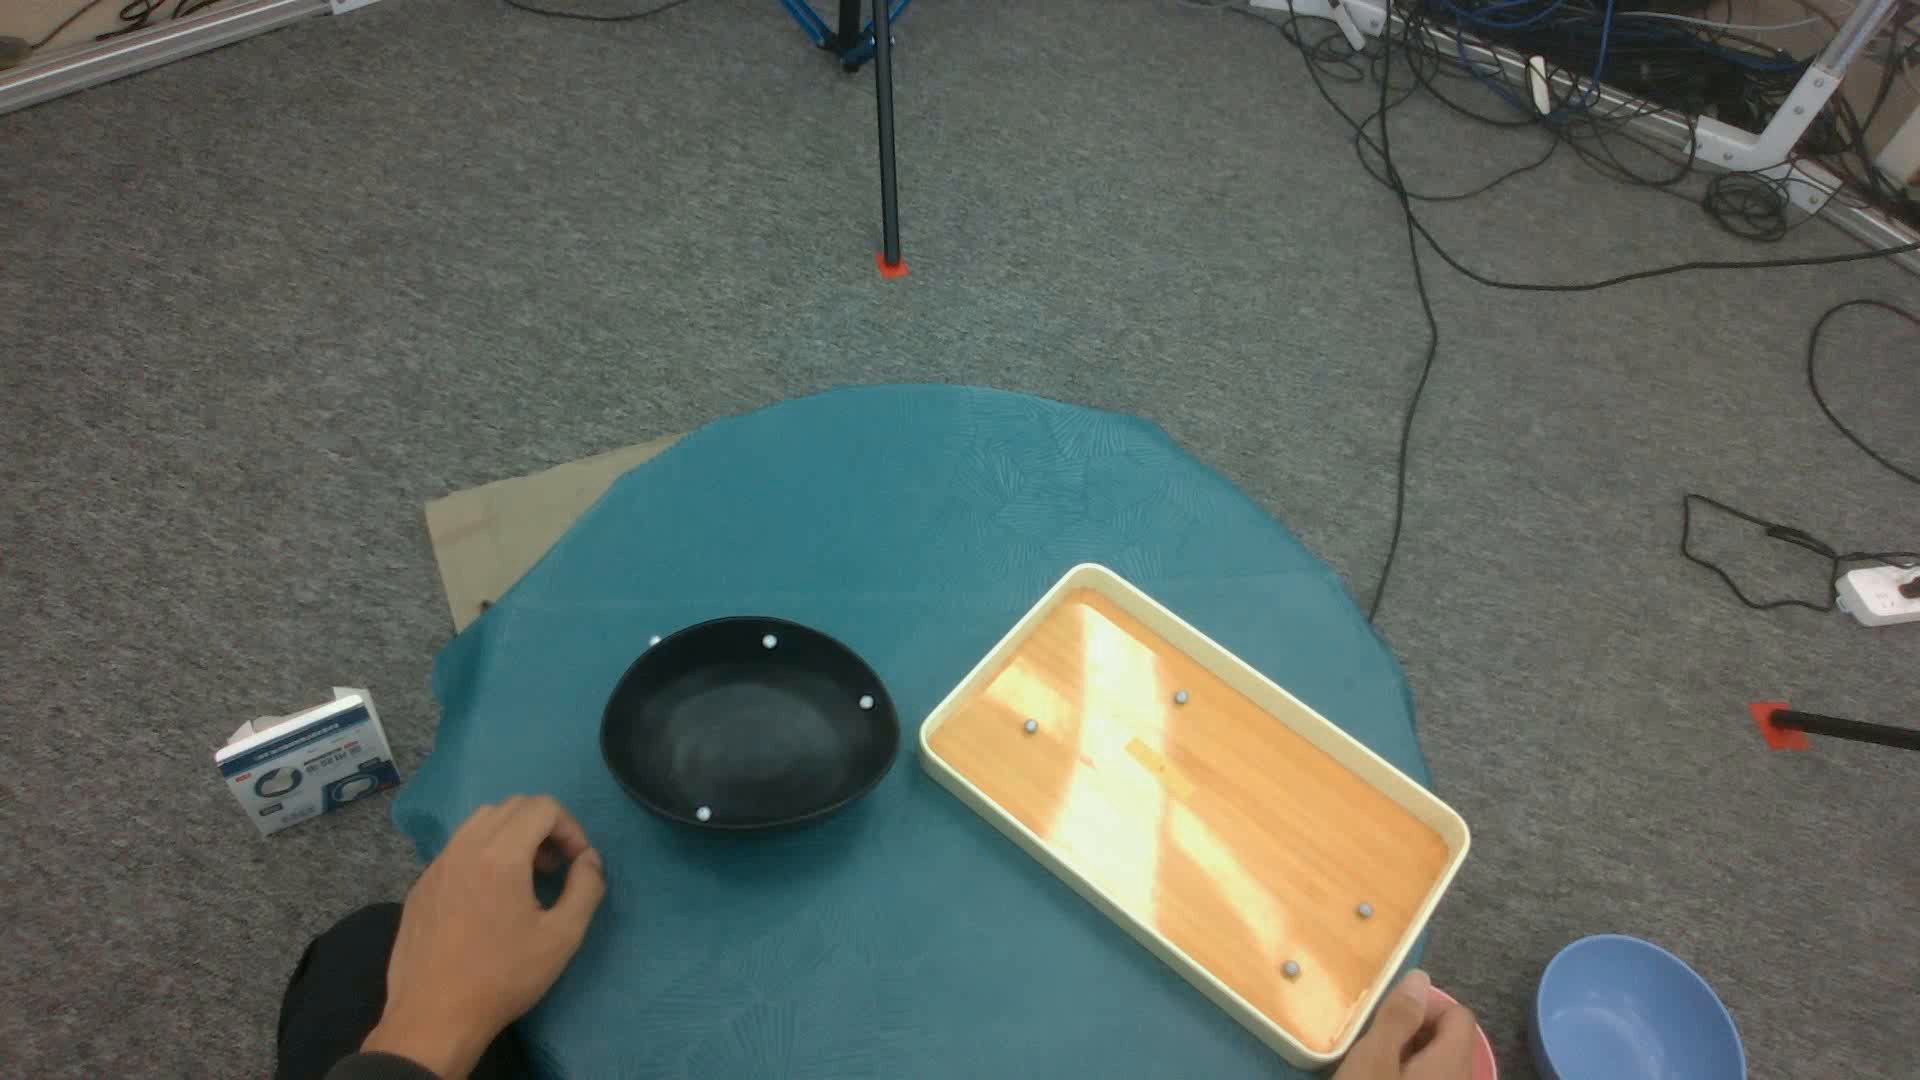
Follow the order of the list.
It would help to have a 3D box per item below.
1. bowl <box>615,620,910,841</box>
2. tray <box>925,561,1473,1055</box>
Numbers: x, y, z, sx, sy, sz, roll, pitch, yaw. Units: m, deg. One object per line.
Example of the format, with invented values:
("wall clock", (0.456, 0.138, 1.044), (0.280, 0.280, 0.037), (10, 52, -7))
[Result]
("bowl", (-0.116, 0.121, 0.820), (0.170, 0.066, 0.138), (0, 55, -9))
("tray", (0.146, 0.152, 0.852), (0.300, 0.027, 0.192), (35, 57, 18))
